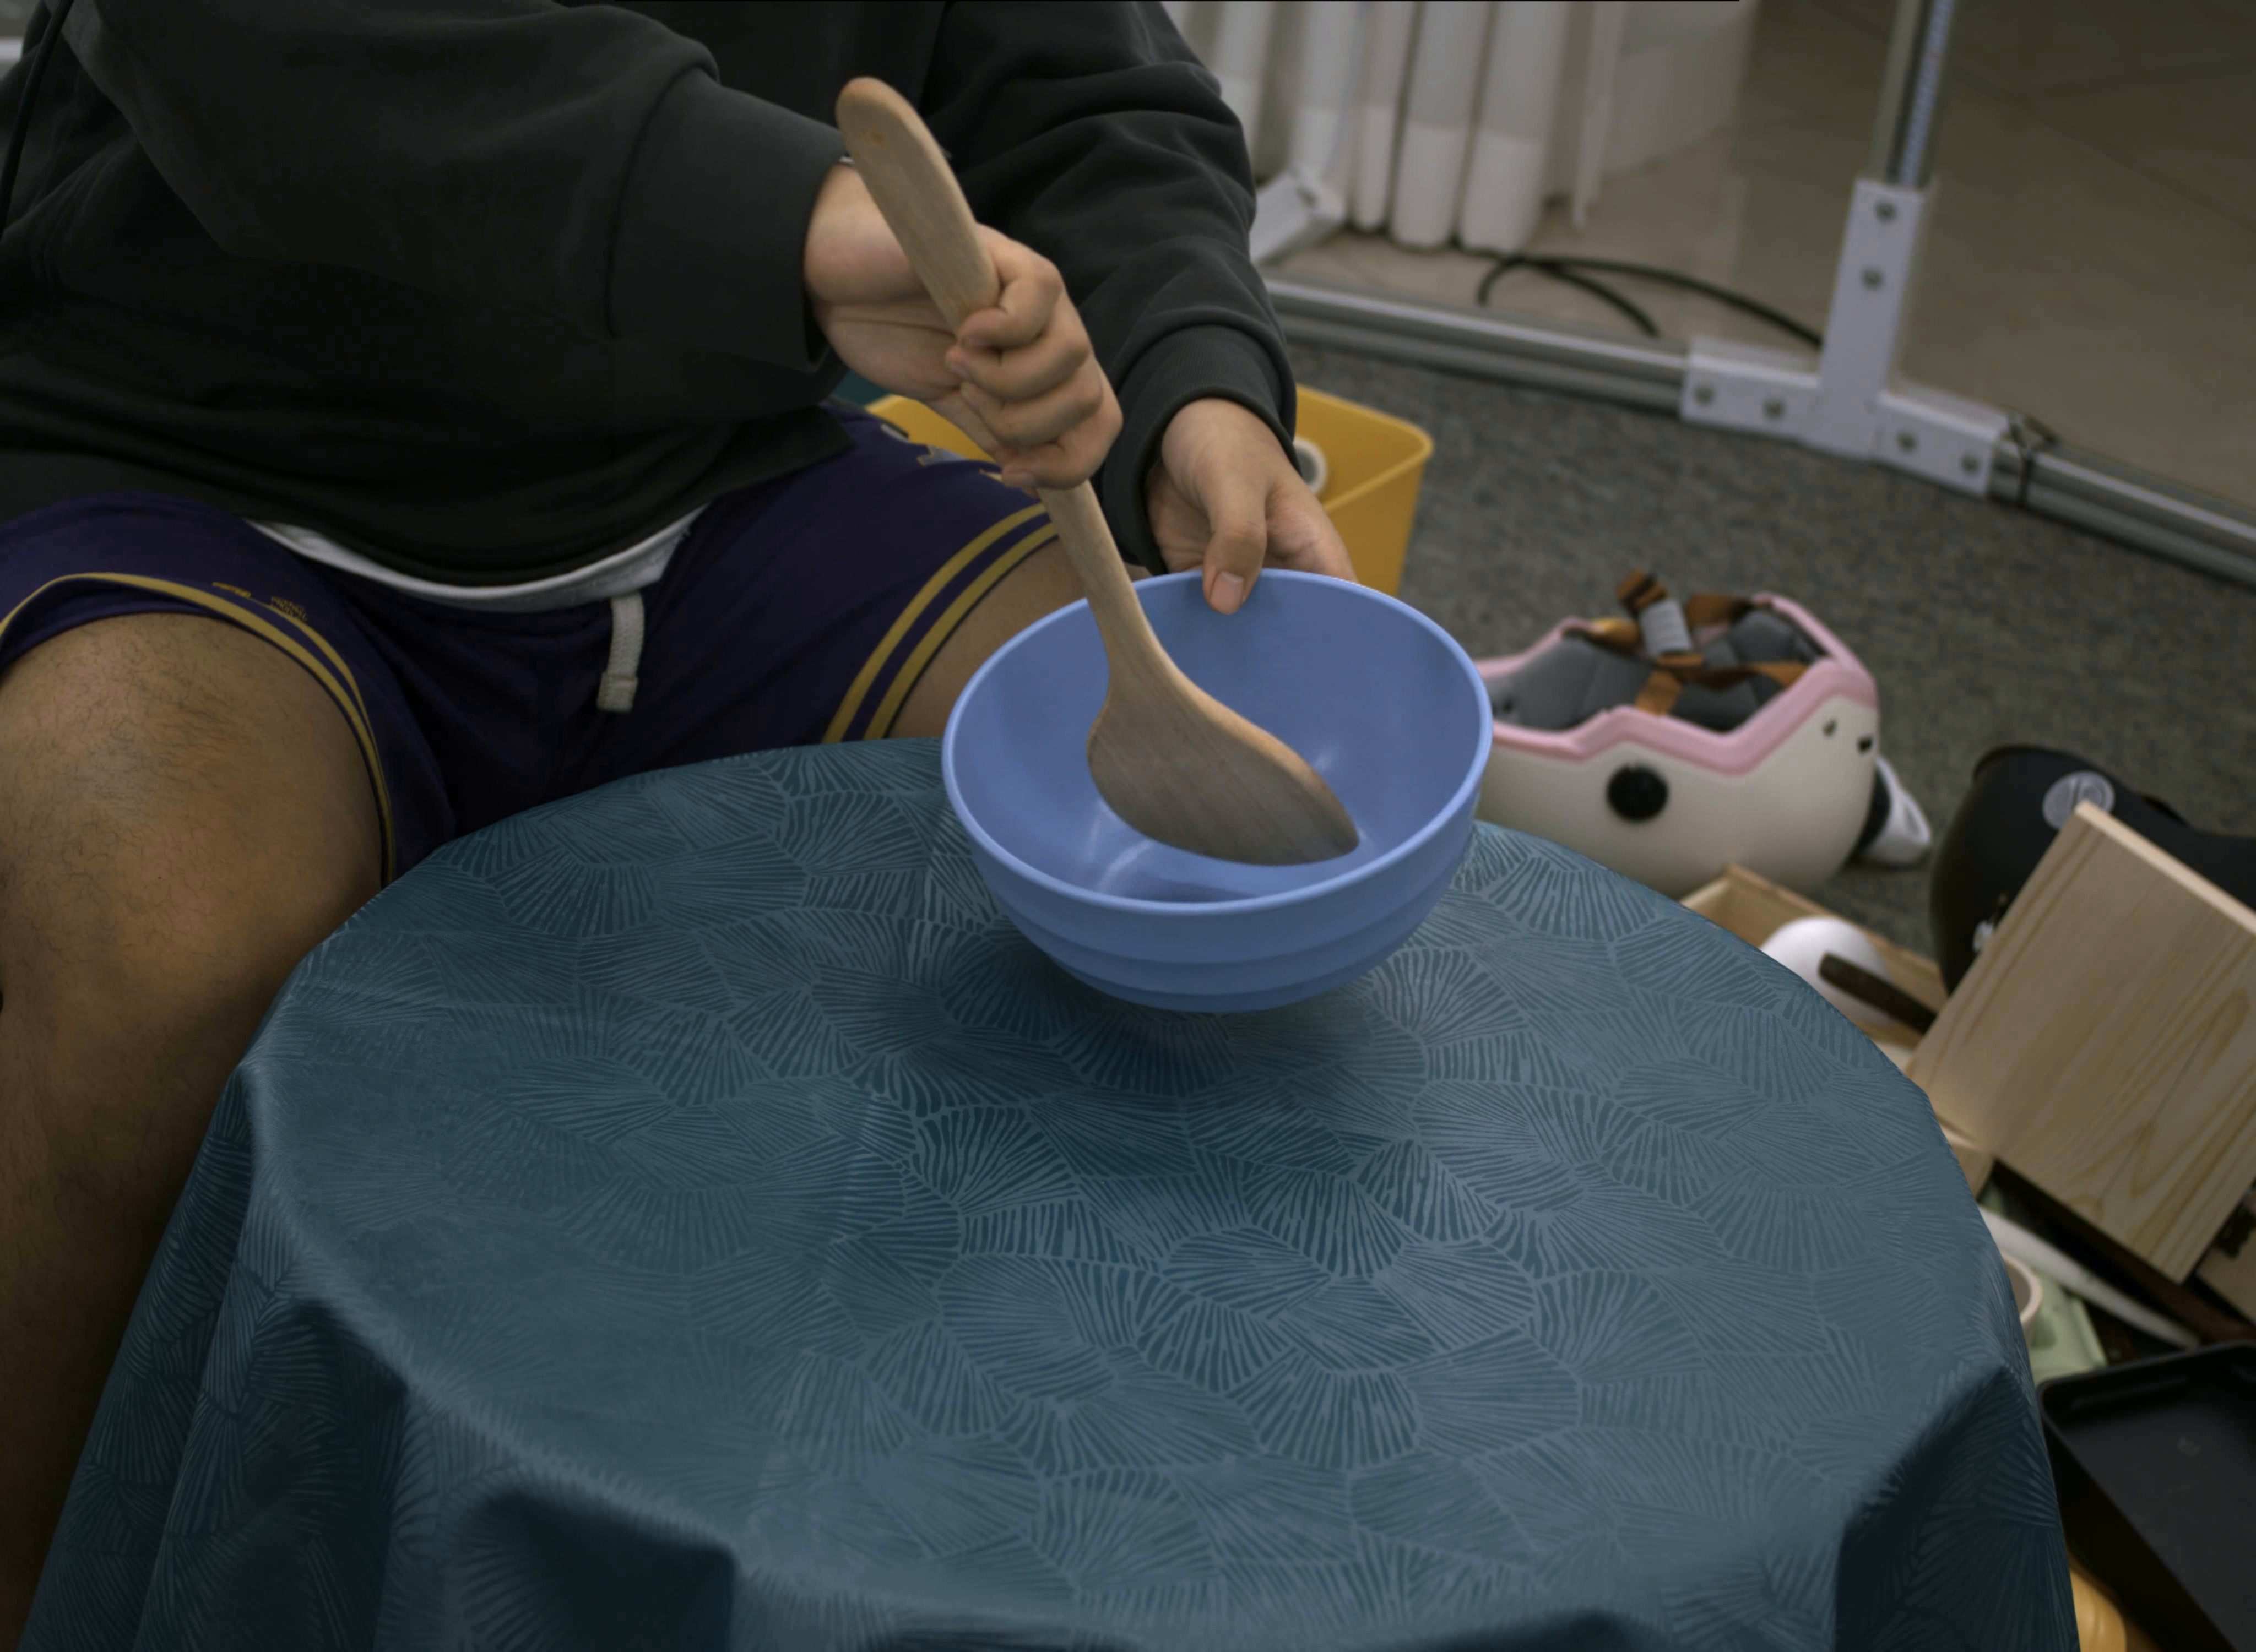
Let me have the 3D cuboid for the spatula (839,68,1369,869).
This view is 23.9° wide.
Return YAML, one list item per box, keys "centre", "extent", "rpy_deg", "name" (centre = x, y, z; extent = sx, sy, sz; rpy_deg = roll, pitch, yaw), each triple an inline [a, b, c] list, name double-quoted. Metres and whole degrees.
- centre: [-0.015, -0.109, 1.796]
  extent: [0.096, 0.387, 0.018]
  rpy_deg: [2, 49, 27]
  name: "spatula"

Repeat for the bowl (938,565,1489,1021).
- centre: [0.034, 0.003, 1.912]
  extent: [0.196, 0.095, 0.198]
  rpy_deg: [-5, 41, 4]
  name: "bowl"
